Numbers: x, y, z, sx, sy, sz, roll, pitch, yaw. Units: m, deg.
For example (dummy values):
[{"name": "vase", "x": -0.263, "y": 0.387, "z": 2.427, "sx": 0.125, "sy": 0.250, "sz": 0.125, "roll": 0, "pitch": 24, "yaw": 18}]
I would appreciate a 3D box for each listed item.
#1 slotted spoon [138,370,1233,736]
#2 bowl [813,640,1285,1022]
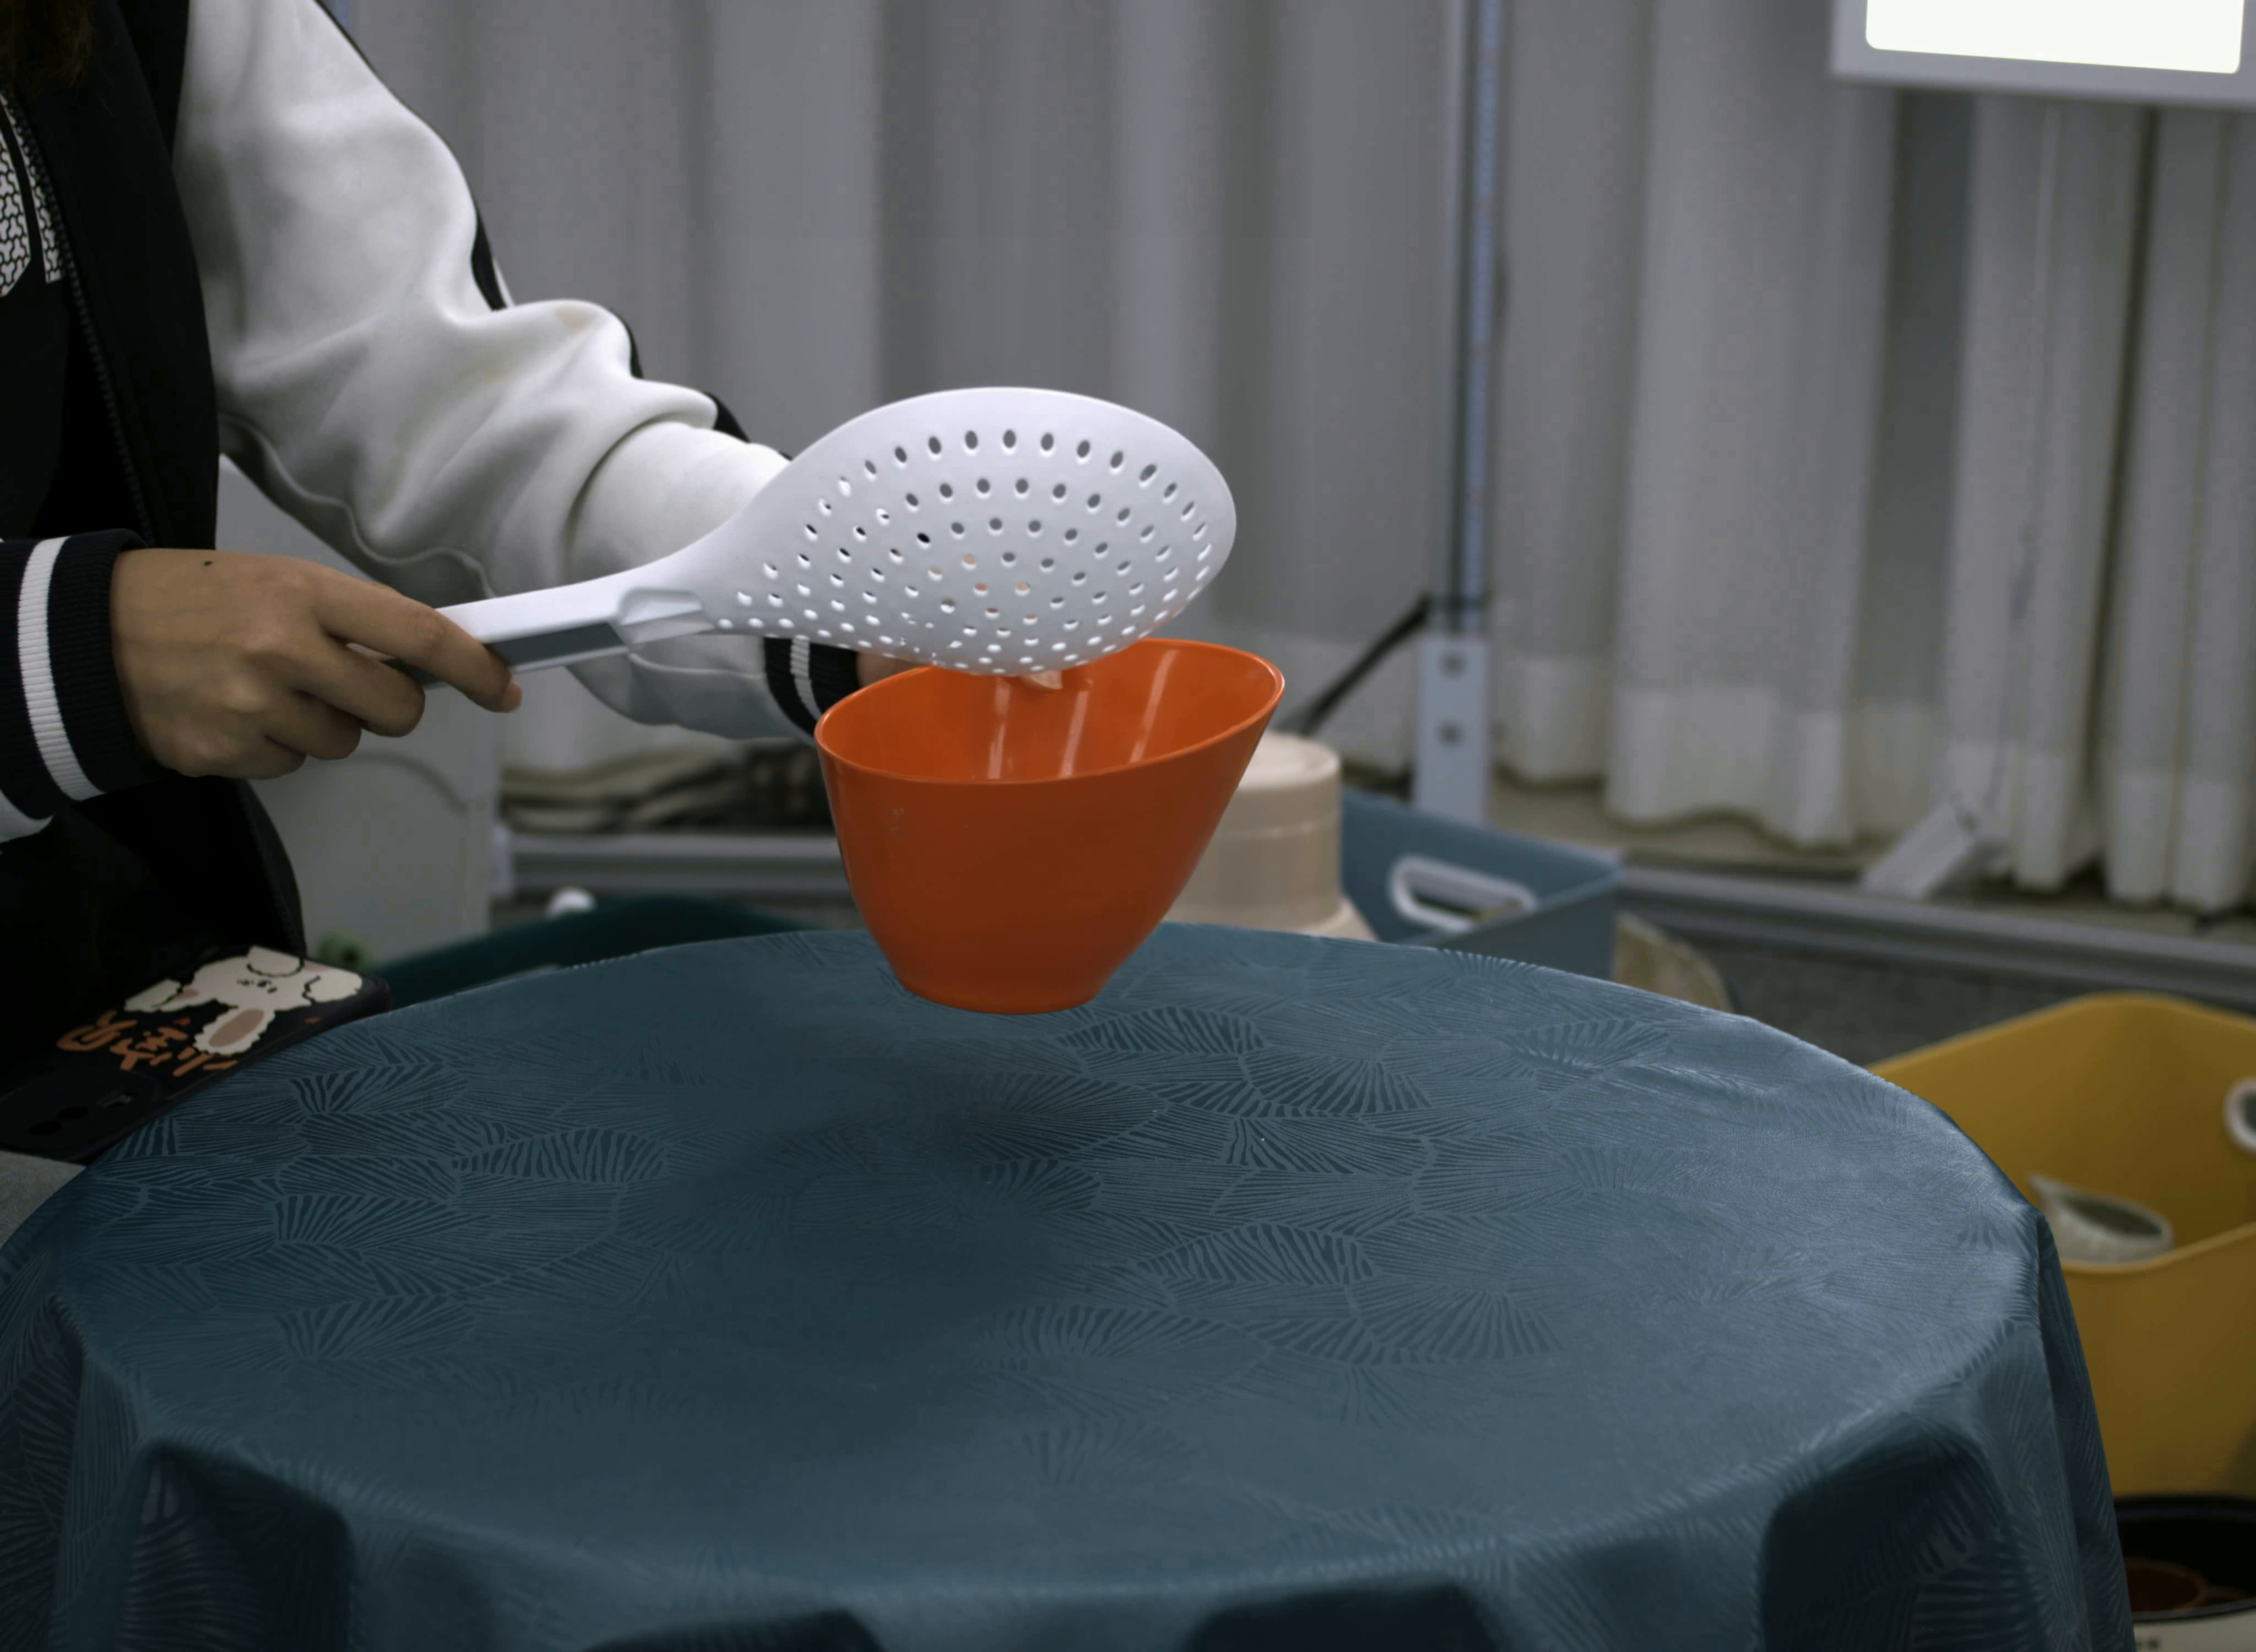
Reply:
[{"name": "slotted spoon", "x": -0.138, "y": -0.069, "z": 1.579, "sx": 0.347, "sy": 0.138, "sz": 0.045, "roll": -6, "pitch": 58, "yaw": 18}, {"name": "bowl", "x": -0.027, "y": 0.003, "z": 1.659, "sx": 0.147, "sy": 0.105, "sz": 0.147, "roll": 3, "pitch": 19, "yaw": -1}]
